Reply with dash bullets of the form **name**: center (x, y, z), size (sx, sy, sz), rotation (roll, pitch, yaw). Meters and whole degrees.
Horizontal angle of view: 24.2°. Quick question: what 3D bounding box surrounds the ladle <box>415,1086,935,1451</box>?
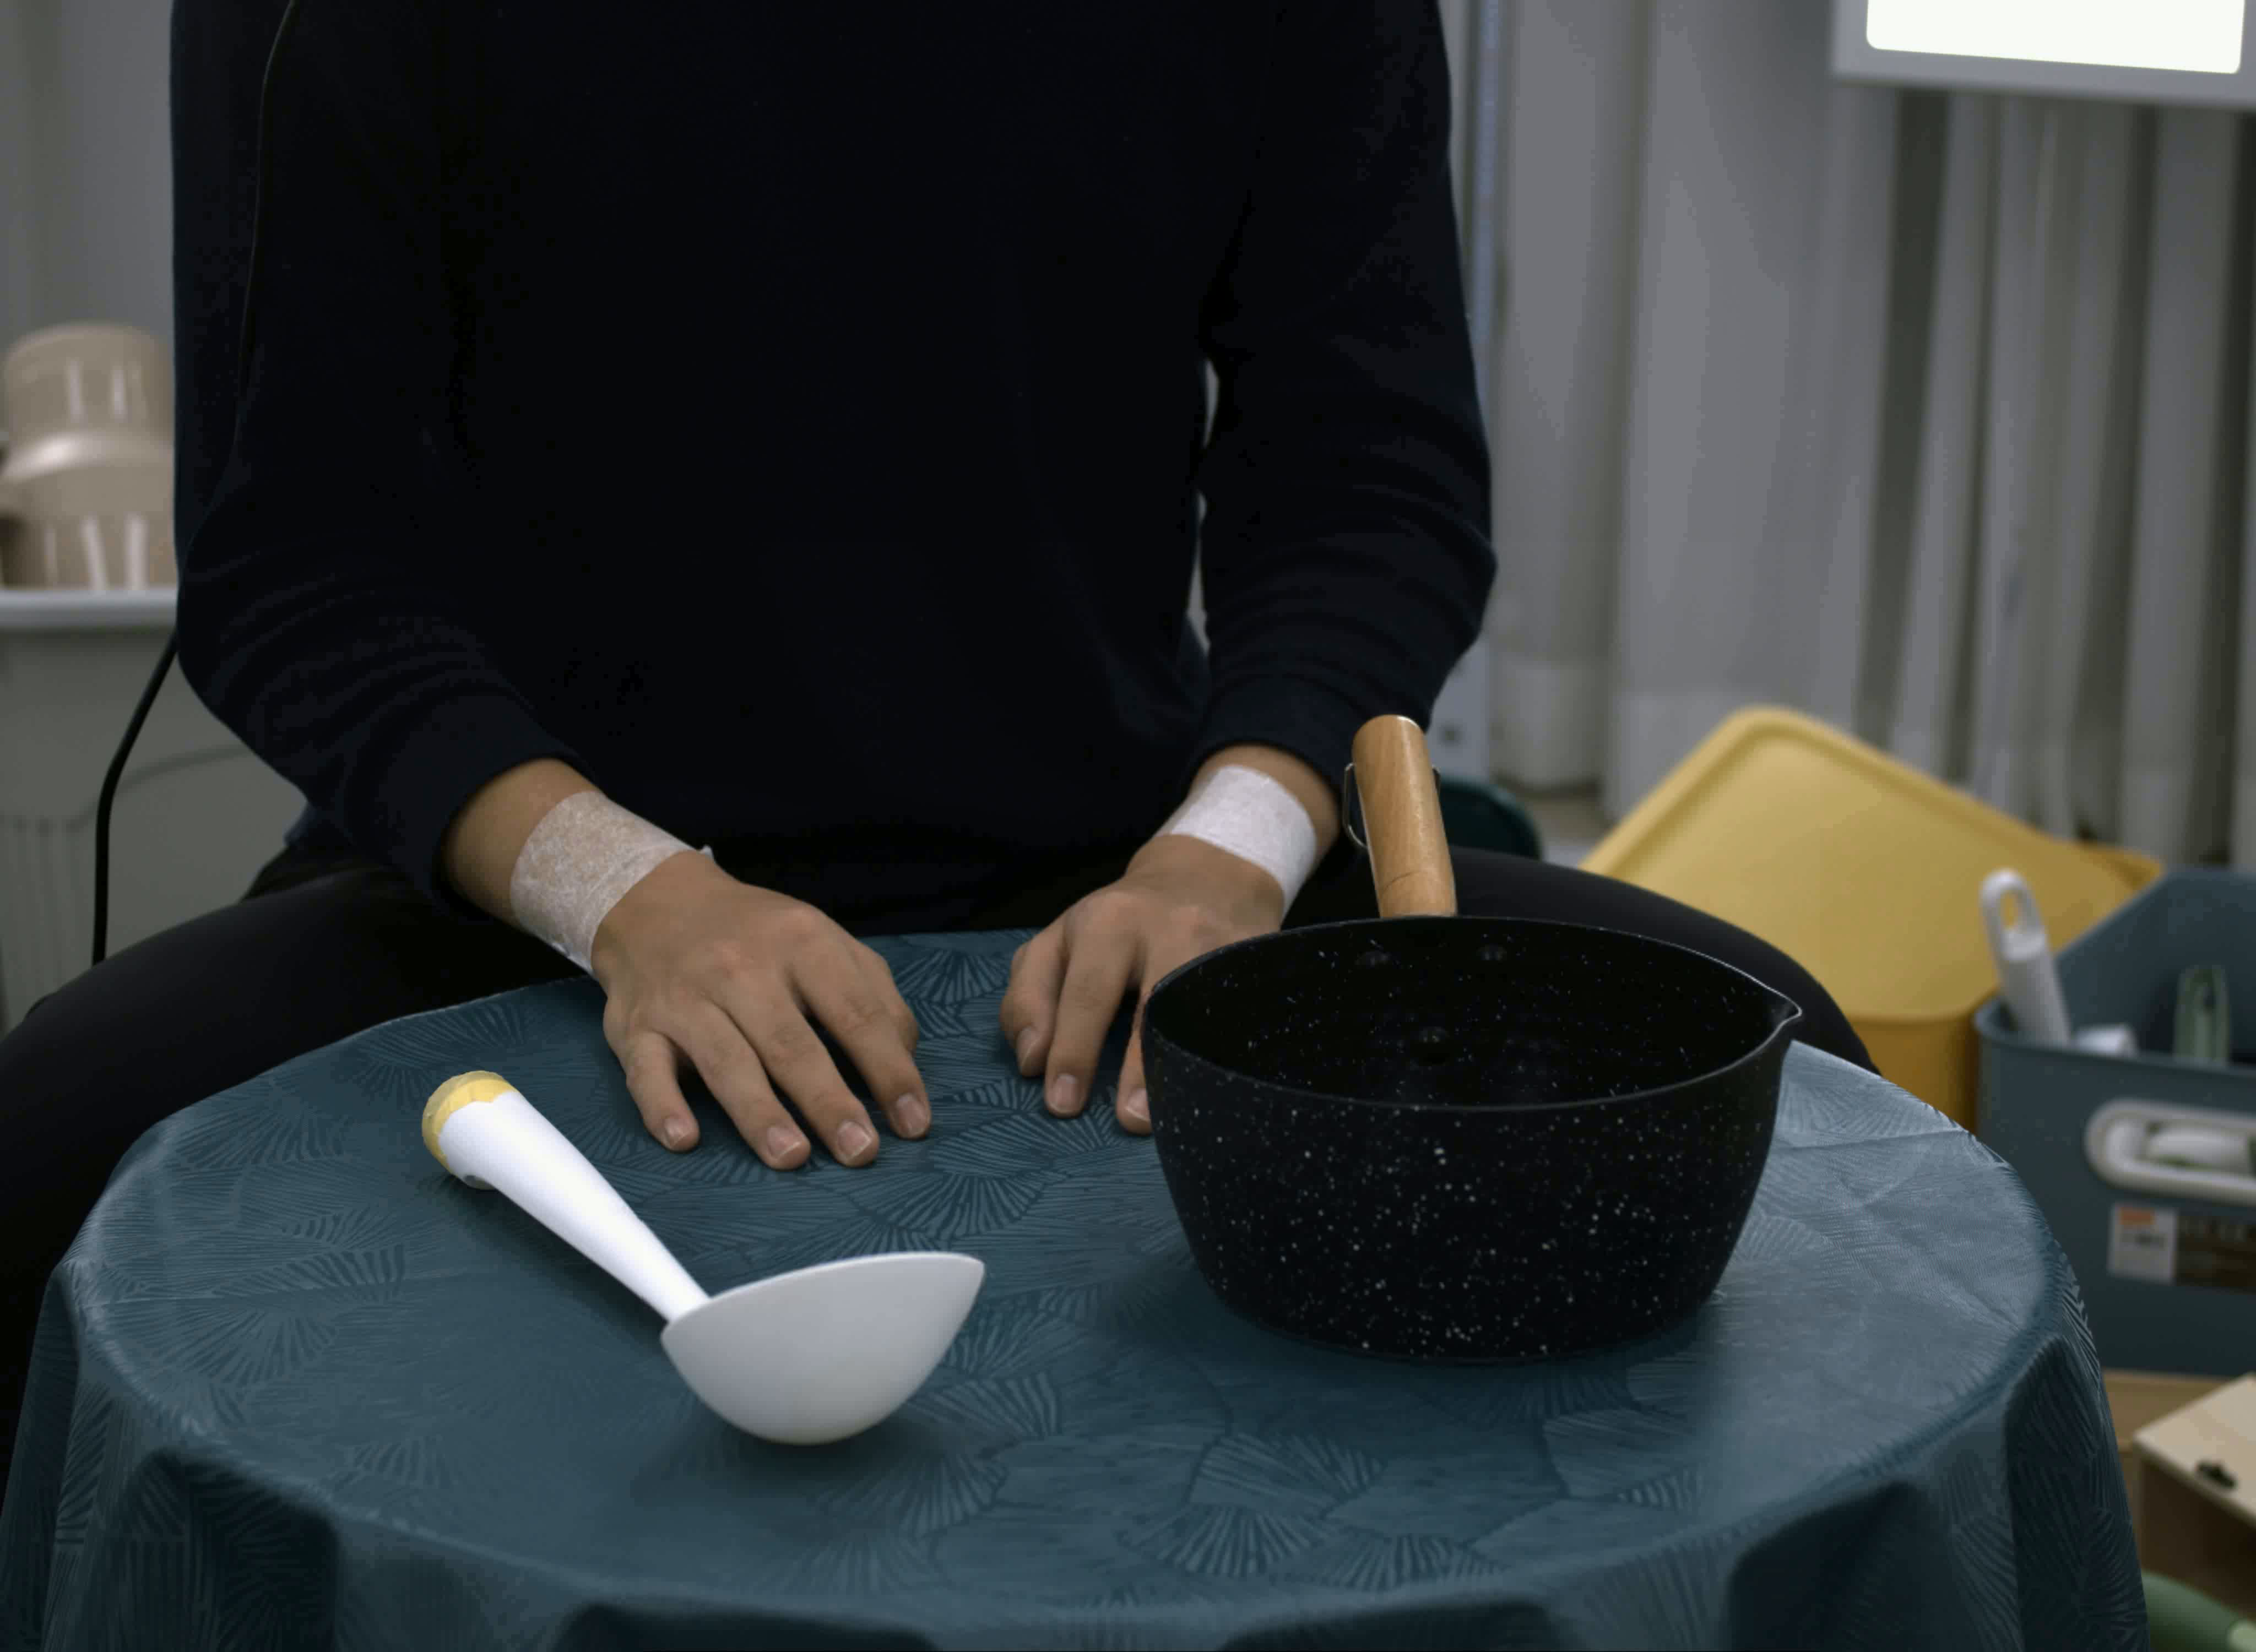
- **ladle**: center (-0.143, 0.111, 1.501), size (0.090, 0.070, 0.289), rotation (-14, 20, -24)

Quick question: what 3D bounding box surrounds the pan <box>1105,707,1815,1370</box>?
- **pan**: center (0.092, 0.059, 1.613), size (0.207, 0.109, 0.340), rotation (-2, 17, -4)
